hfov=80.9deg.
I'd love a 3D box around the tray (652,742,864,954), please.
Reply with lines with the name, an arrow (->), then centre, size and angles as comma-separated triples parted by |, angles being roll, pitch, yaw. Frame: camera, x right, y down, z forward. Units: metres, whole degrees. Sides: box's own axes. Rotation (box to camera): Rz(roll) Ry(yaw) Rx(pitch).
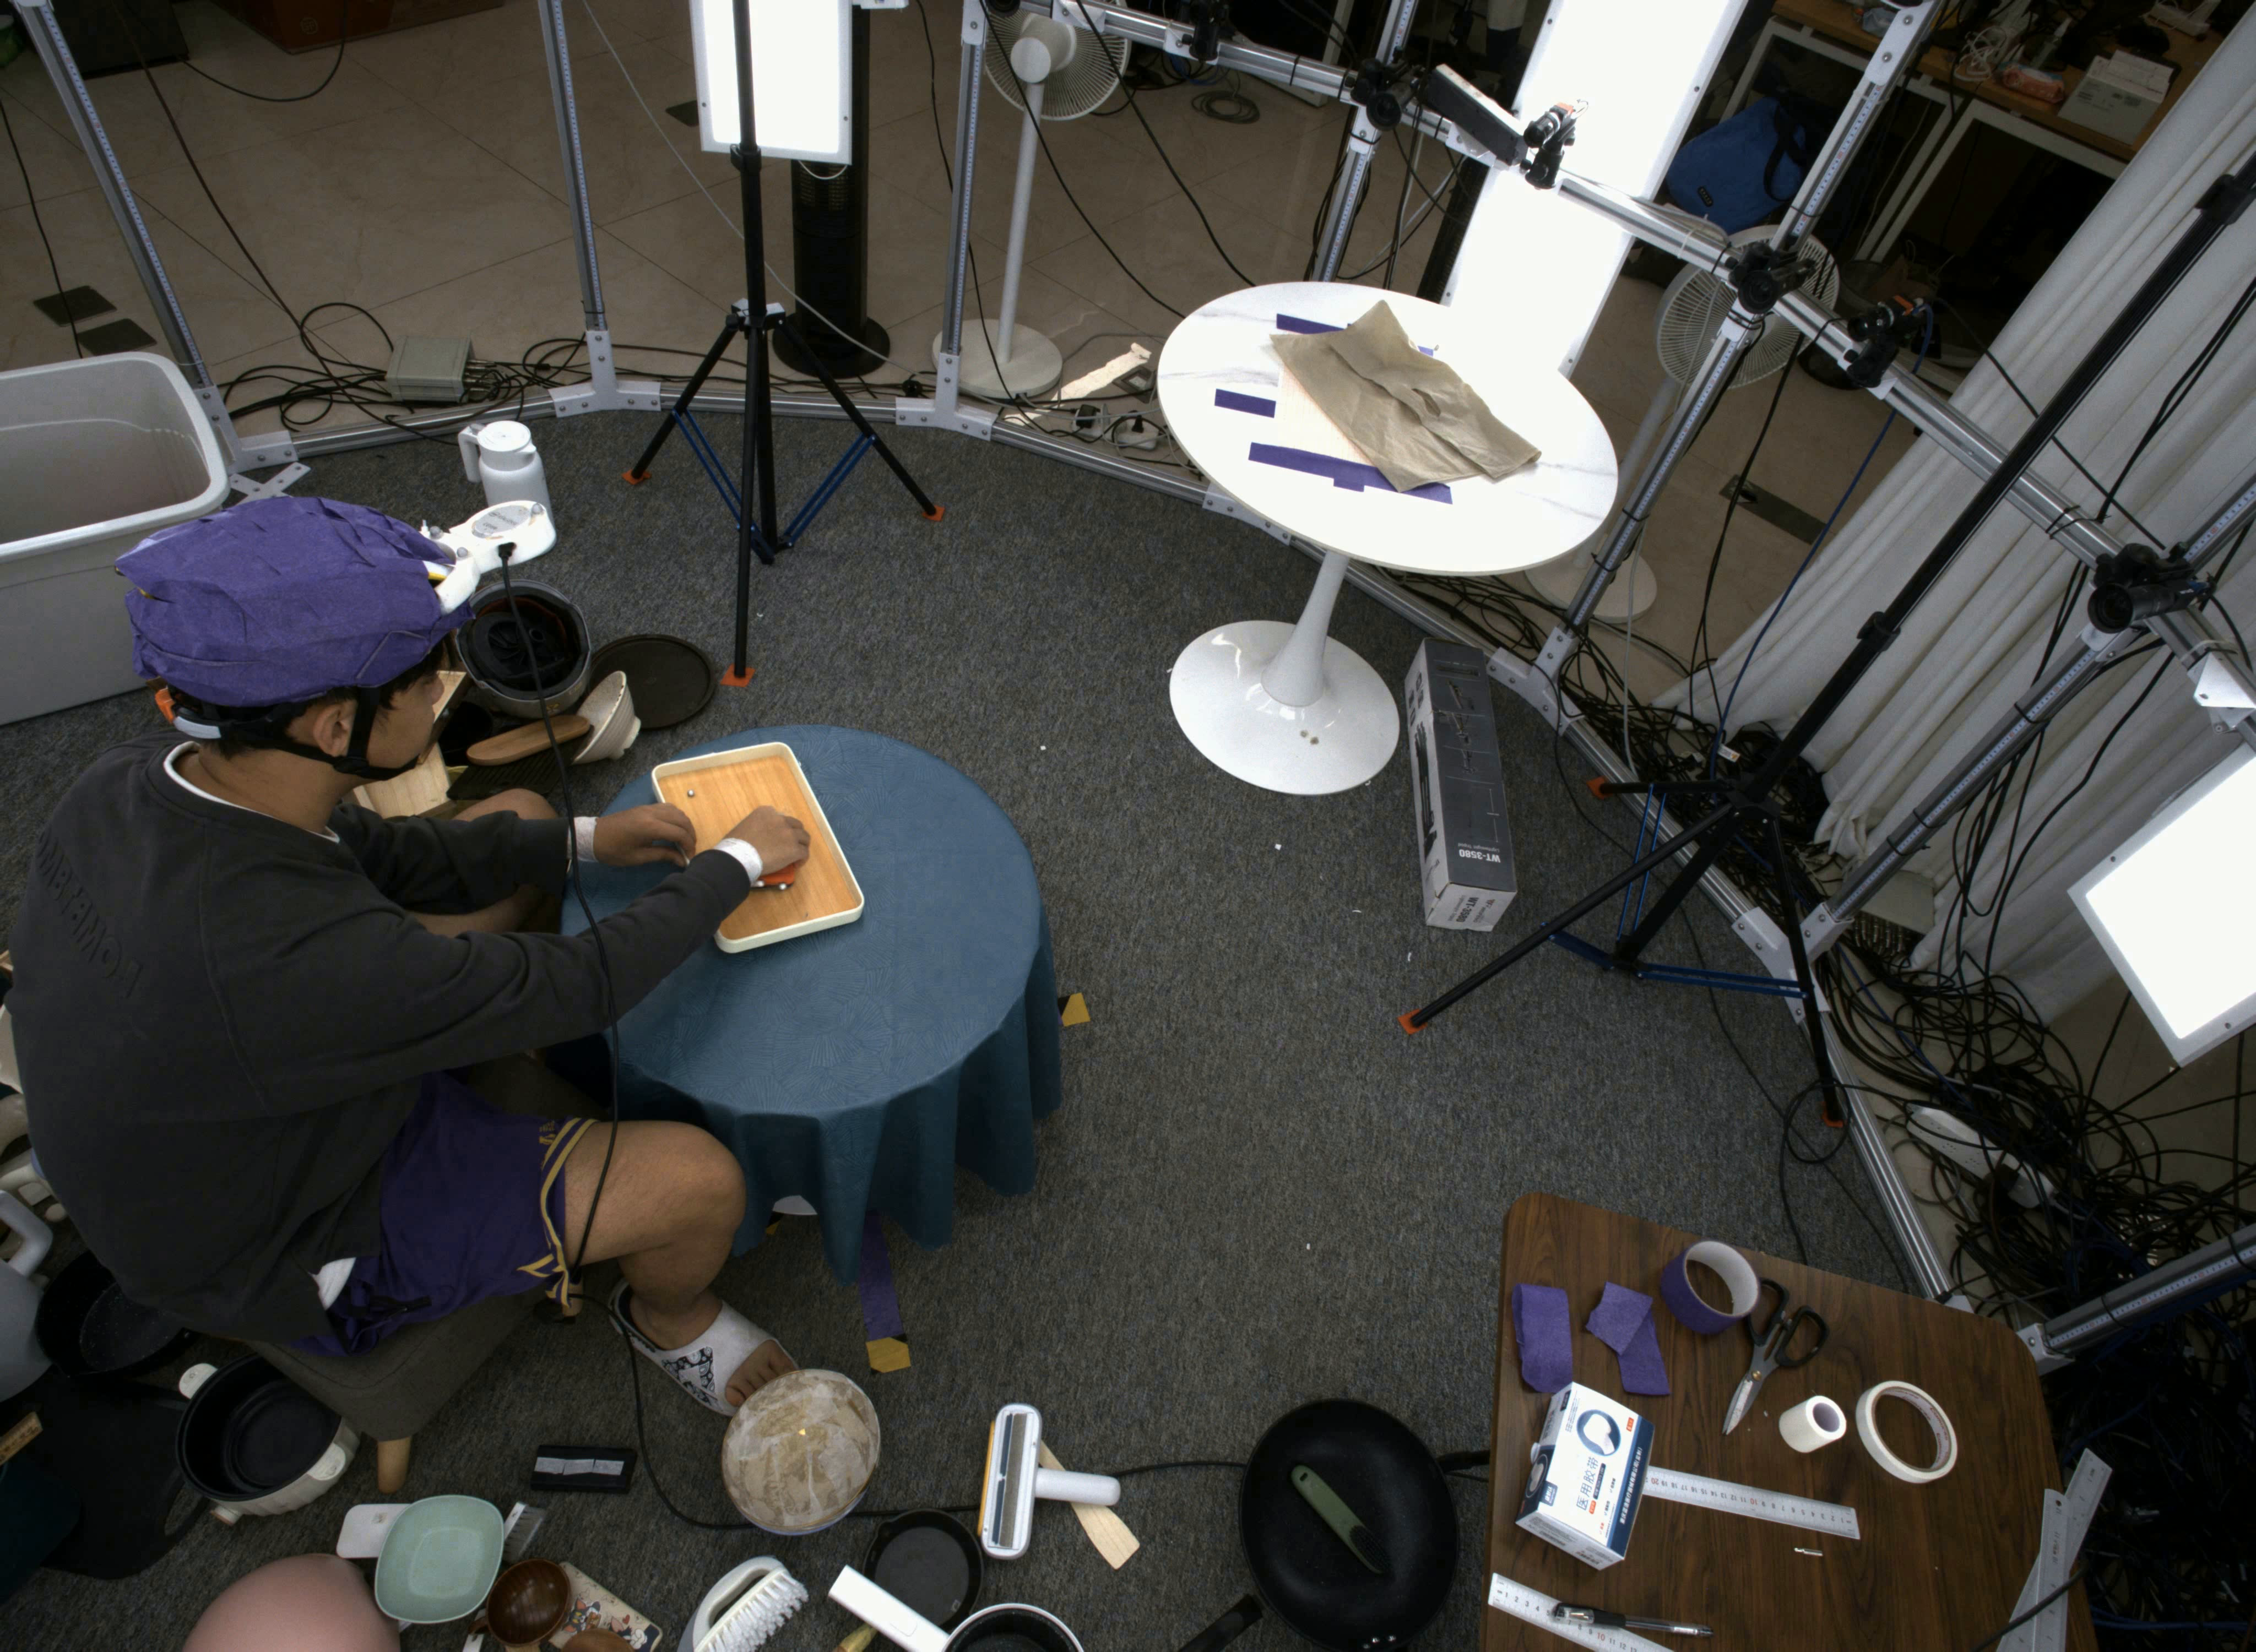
tray -> -0.481, 0.019, 1.669 | 0.193, 0.028, 0.293 | -14, 58, -31

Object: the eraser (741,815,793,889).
eraser -> -0.463, 0.031, 1.655 | 0.059, 0.023, 0.105 | -1, 49, -23
